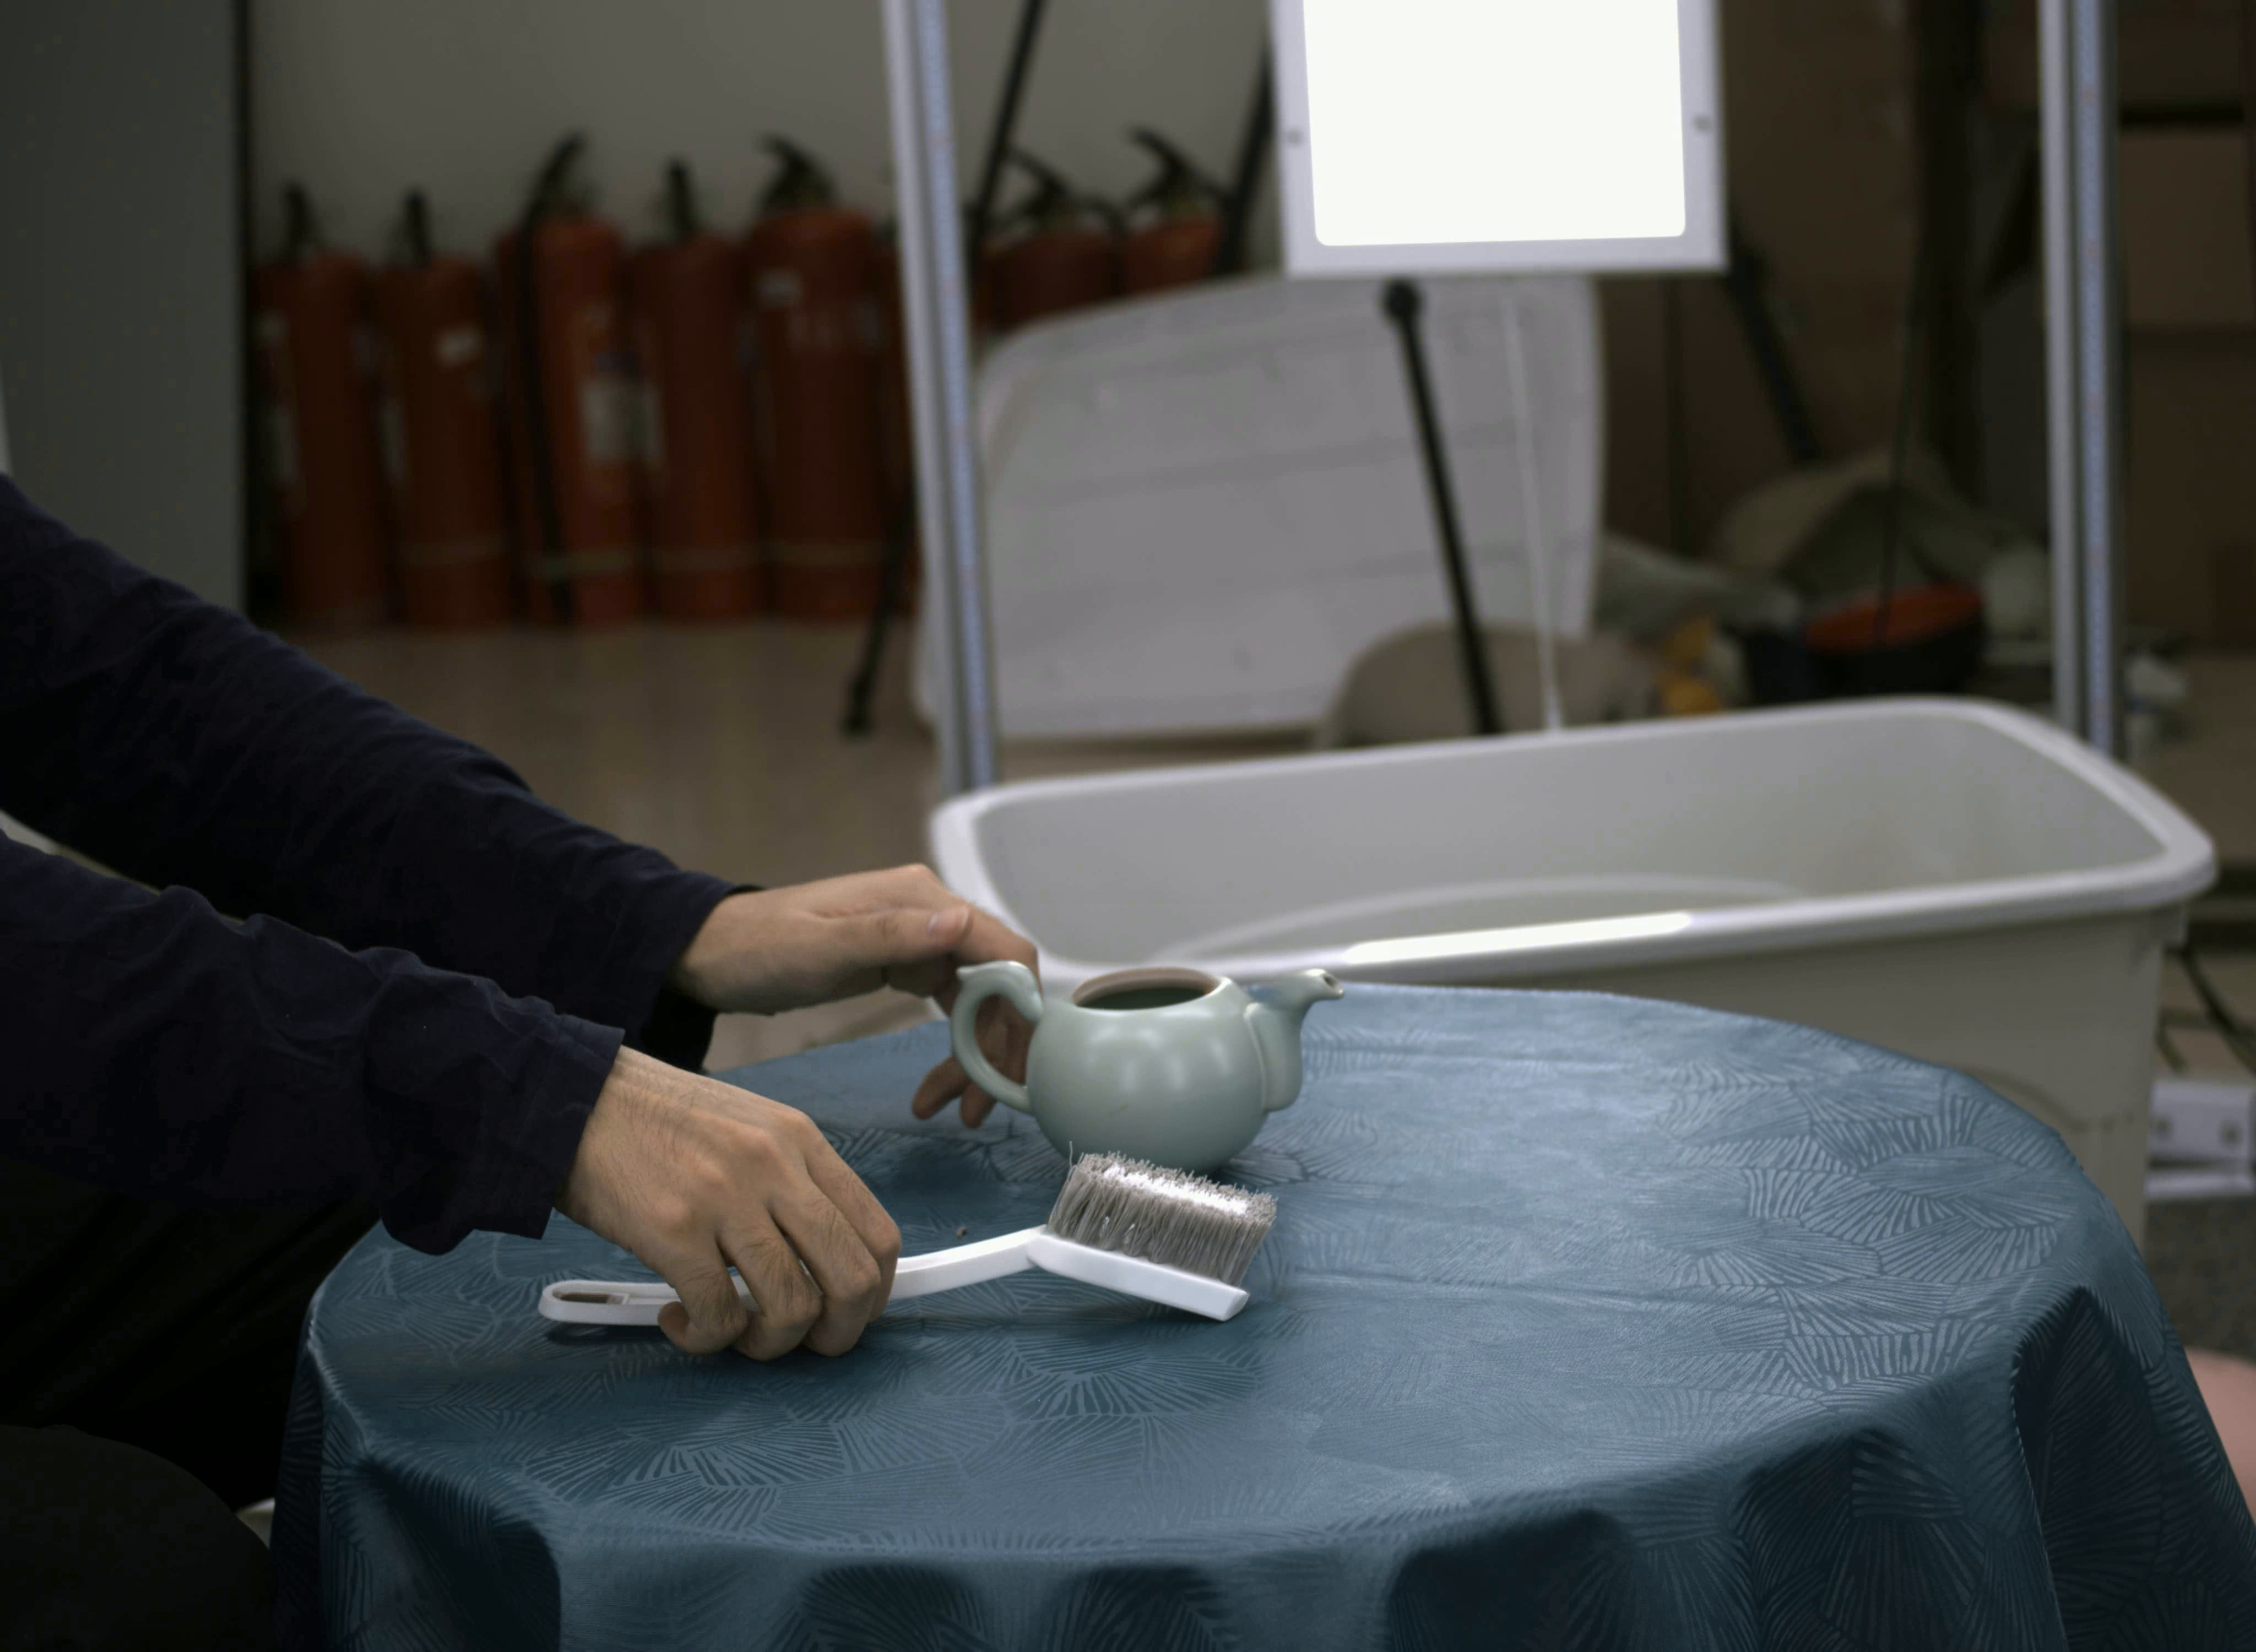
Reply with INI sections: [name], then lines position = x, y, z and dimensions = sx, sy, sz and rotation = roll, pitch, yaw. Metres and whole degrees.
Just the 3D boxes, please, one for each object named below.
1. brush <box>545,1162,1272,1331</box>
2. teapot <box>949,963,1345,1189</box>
[brush]
position = -0.073, 0.135, 1.785
dimensions = 0.245, 0.050, 0.034
rotation = 0, 21, 14
[teapot]
position = 0.008, 0.085, 1.915
dimensions = 0.146, 0.075, 0.087
rotation = 2, 16, 20
